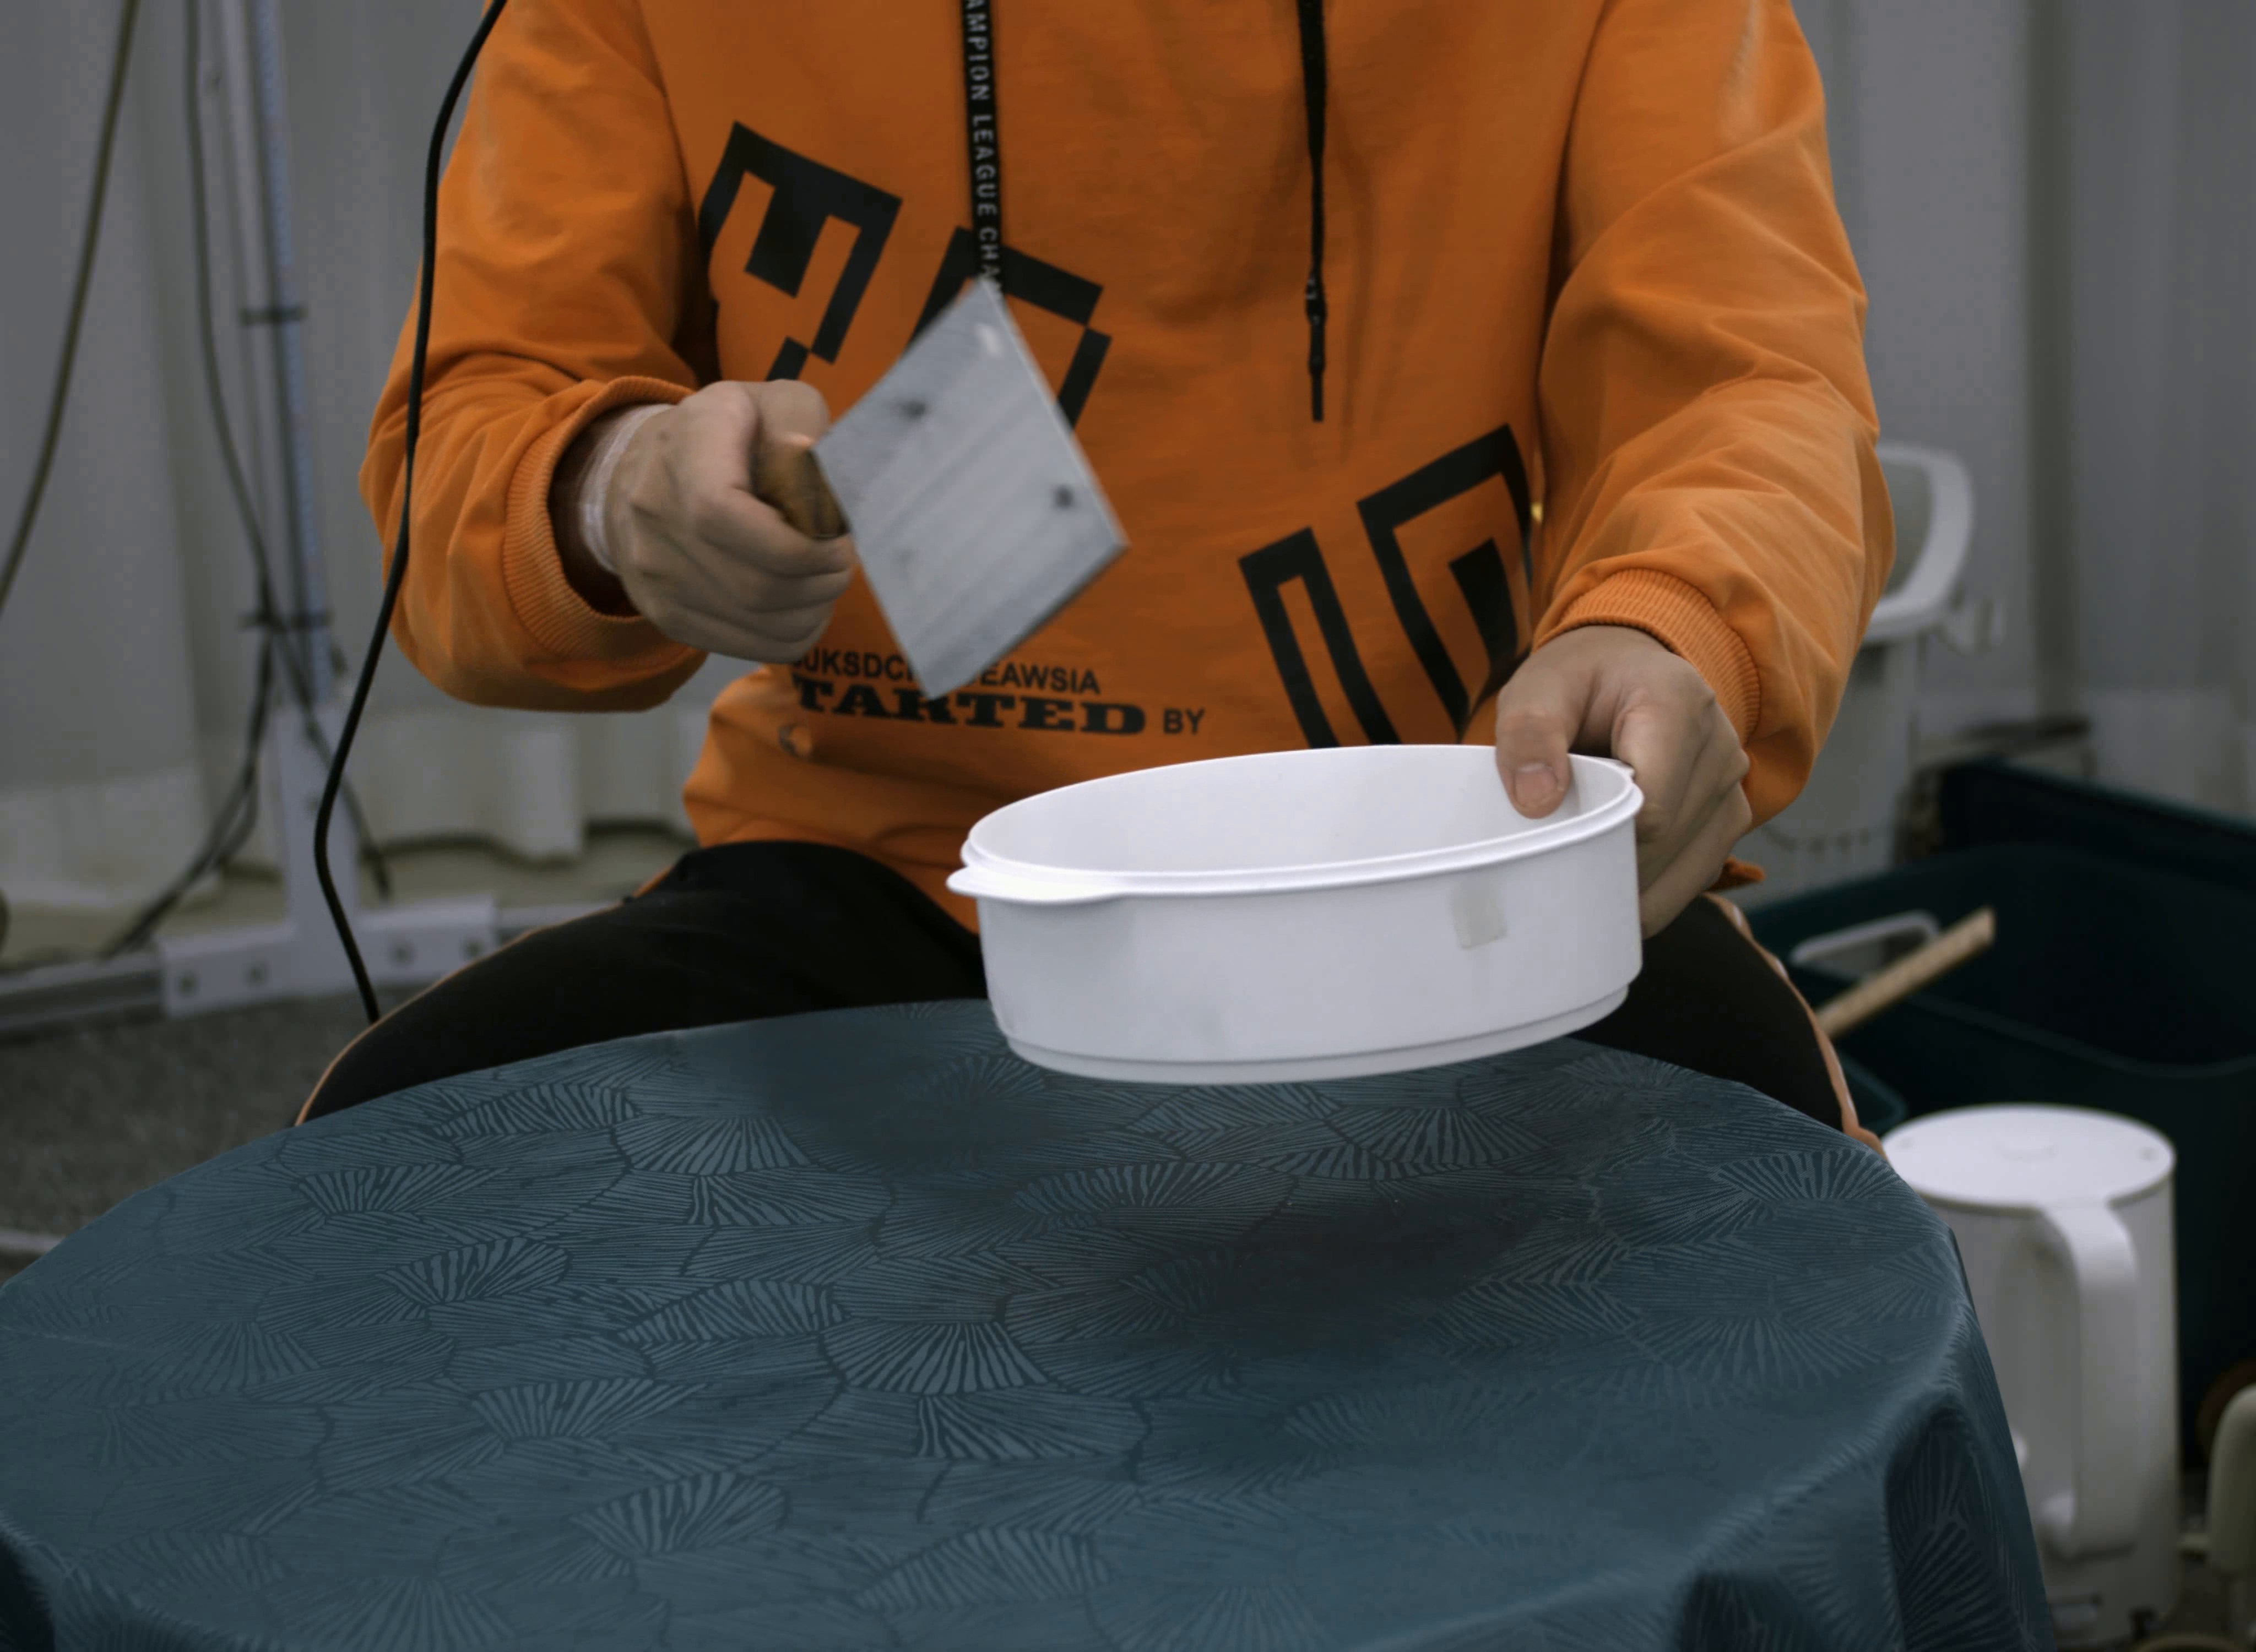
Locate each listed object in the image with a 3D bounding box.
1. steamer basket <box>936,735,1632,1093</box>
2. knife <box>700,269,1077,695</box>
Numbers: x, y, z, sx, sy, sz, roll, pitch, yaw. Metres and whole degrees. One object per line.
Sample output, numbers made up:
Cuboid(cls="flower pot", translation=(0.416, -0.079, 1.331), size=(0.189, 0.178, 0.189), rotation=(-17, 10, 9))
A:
Cuboid(cls="steamer basket", translation=(0.050, 0.026, 1.608), size=(0.230, 0.069, 0.203), rotation=(-15, 14, -36))
Cuboid(cls="knife", translation=(-0.074, -0.089, 1.707), size=(0.021, 0.093, 0.304), rotation=(-26, -4, -22))
